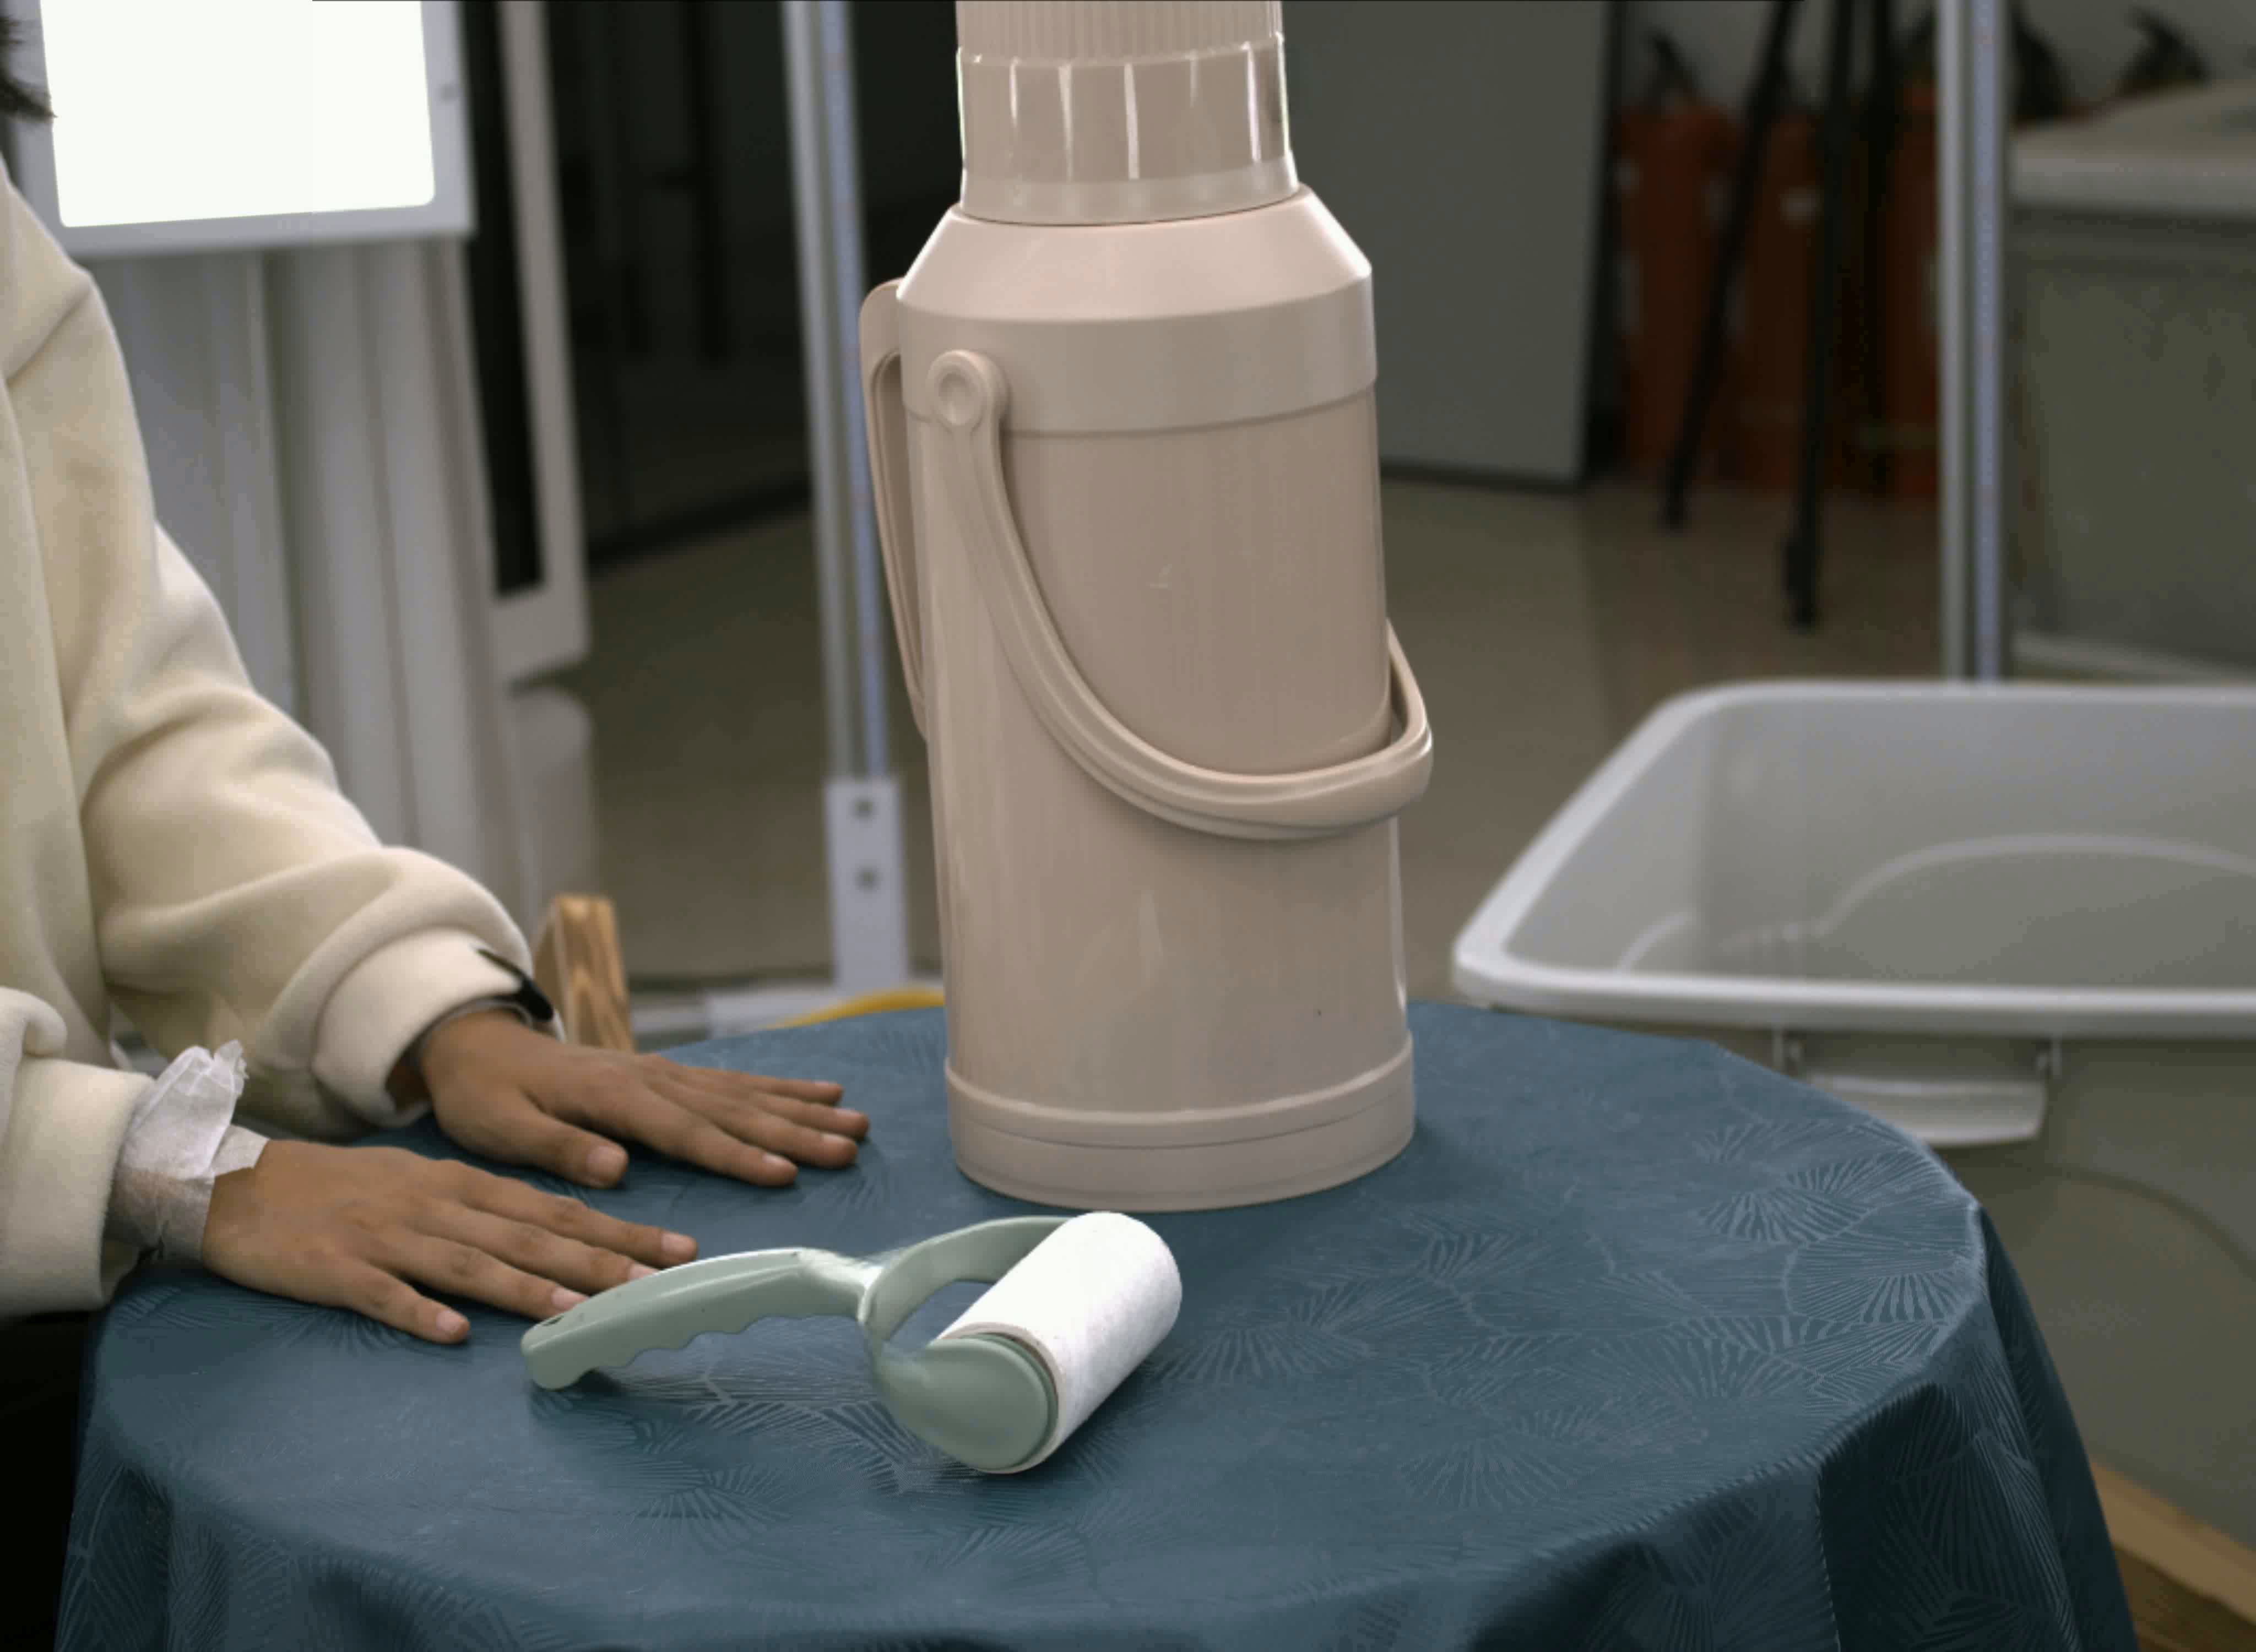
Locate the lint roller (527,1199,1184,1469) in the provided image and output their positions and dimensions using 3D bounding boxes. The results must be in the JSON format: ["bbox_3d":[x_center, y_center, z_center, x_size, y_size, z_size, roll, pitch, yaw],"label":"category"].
[{"bbox_3d":[-0.088,0.146,1.598,0.197,0.049,0.115,1,17,21],"label":"lint roller"}]

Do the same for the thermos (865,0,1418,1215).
[{"bbox_3d":[-0.002,-0.088,1.784,0.209,0.411,0.172,8,18,42],"label":"thermos"}]
